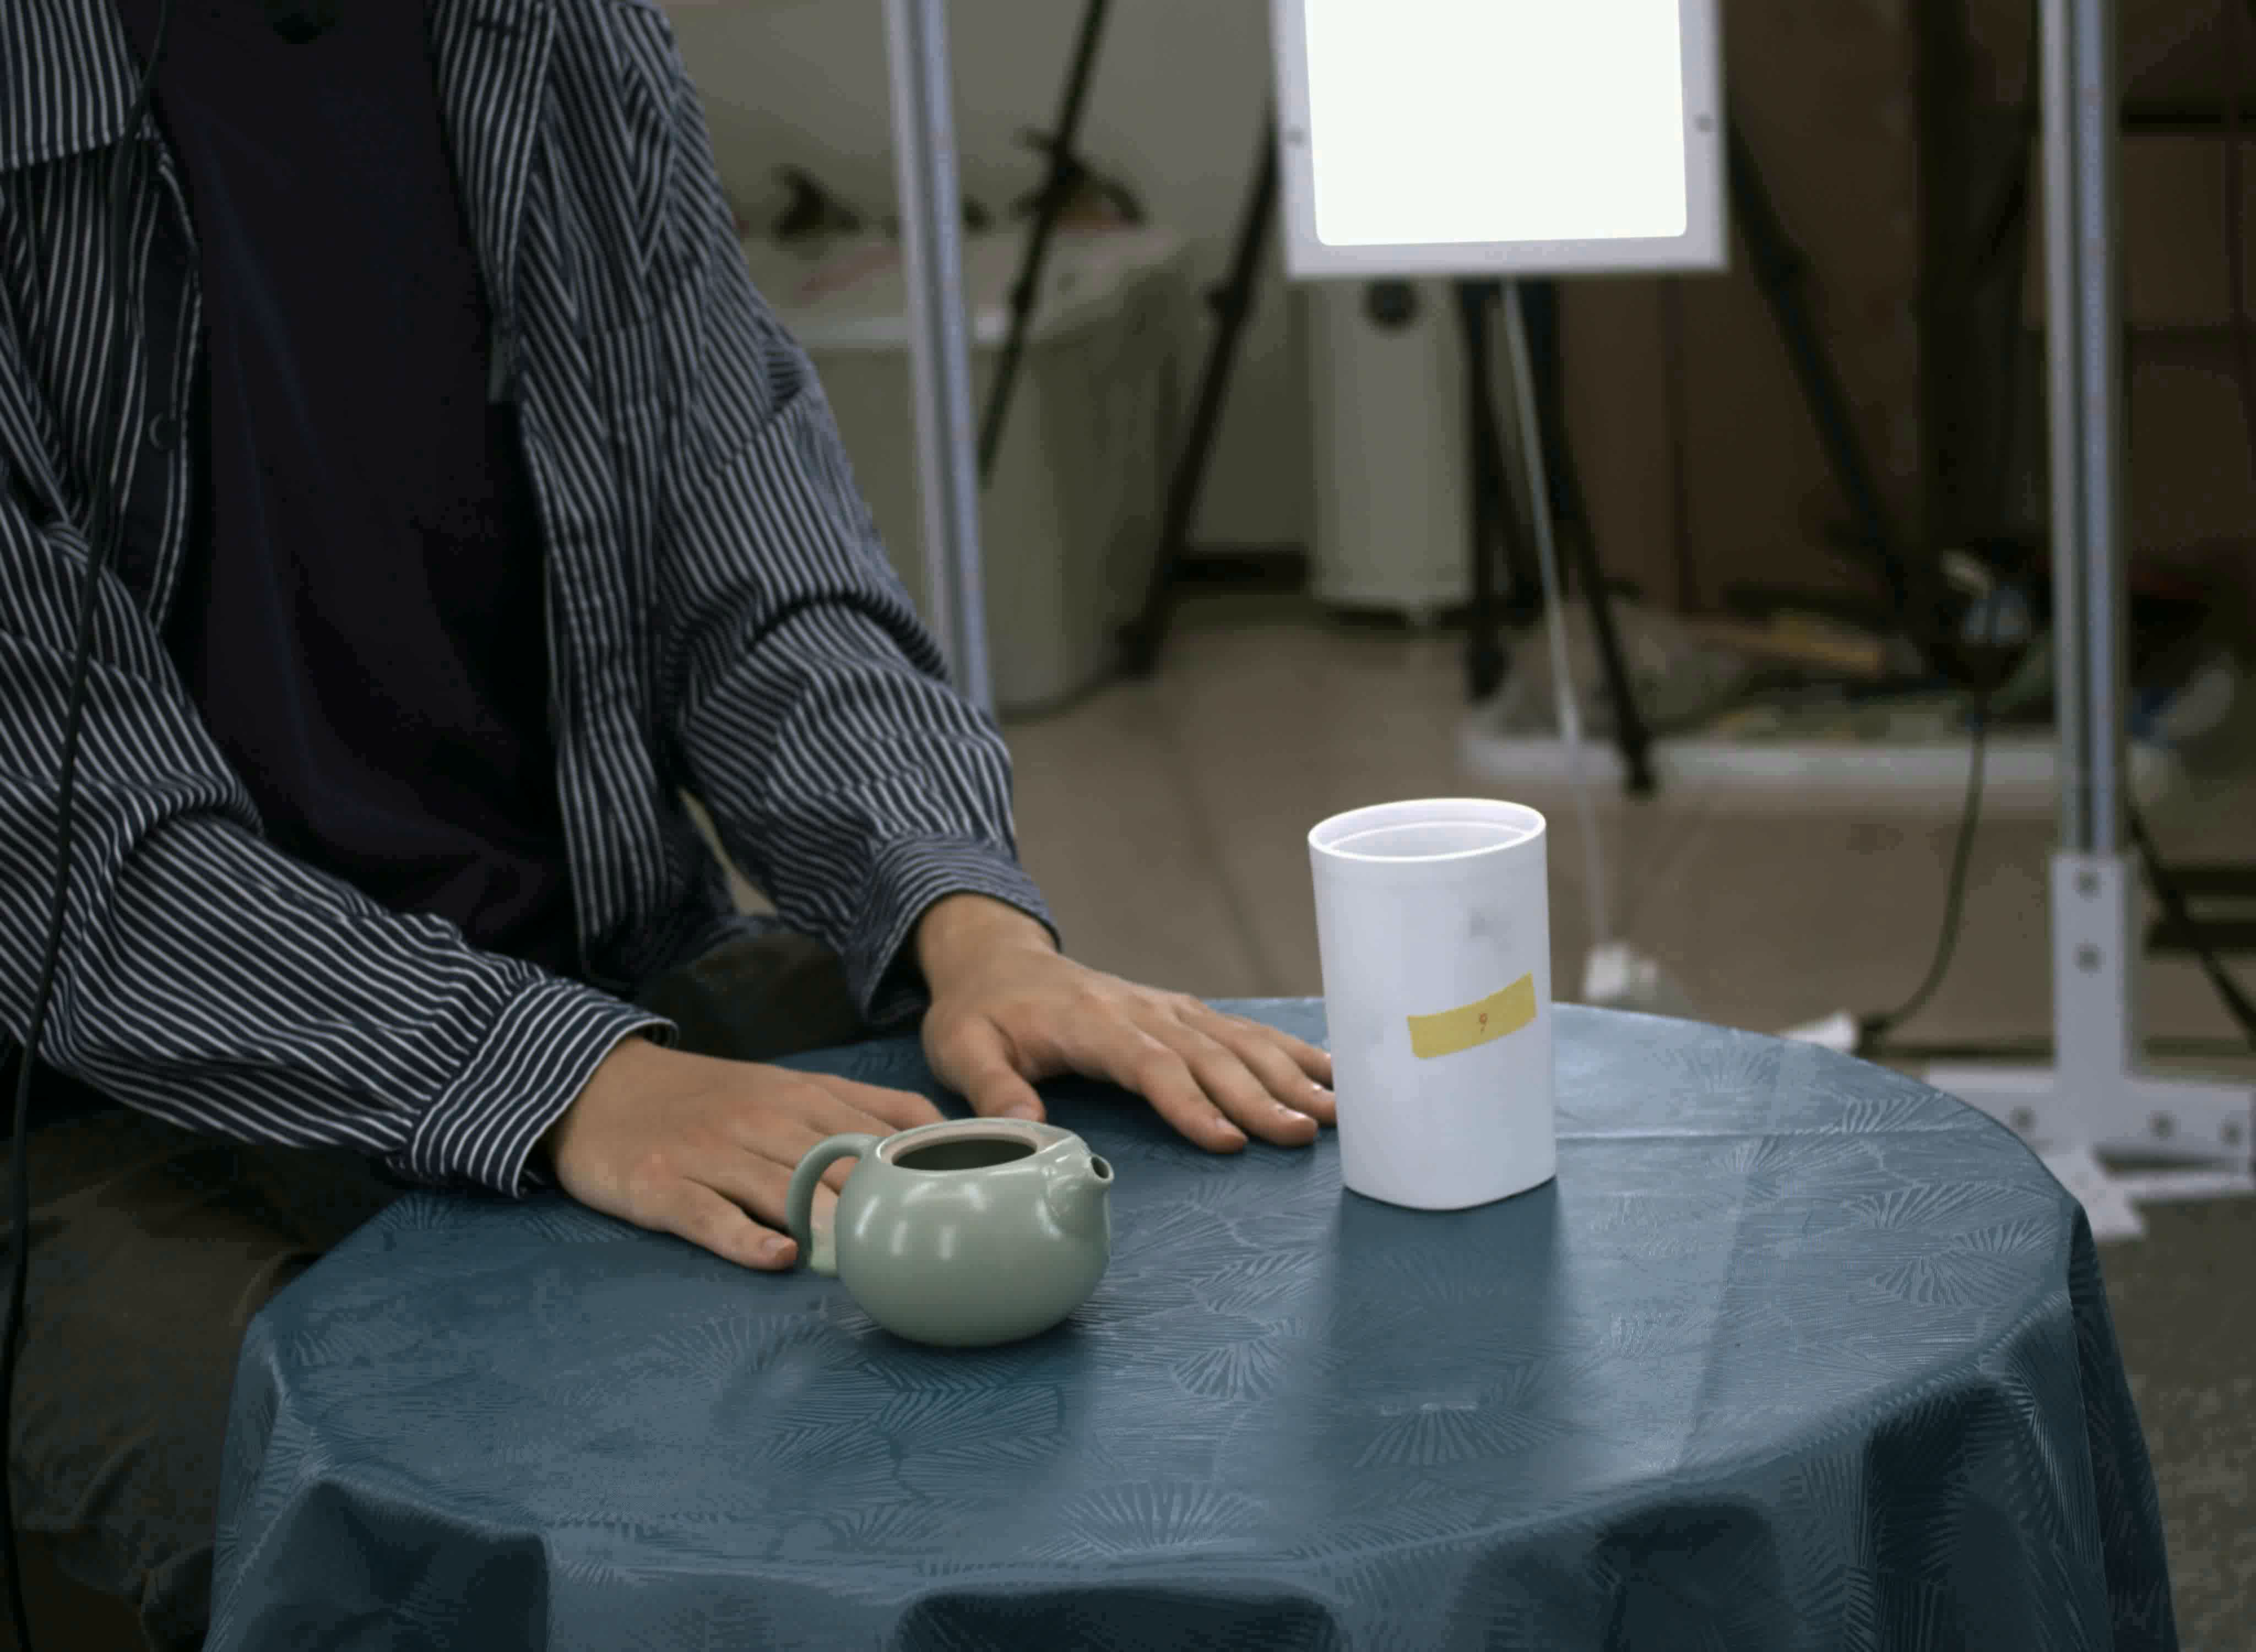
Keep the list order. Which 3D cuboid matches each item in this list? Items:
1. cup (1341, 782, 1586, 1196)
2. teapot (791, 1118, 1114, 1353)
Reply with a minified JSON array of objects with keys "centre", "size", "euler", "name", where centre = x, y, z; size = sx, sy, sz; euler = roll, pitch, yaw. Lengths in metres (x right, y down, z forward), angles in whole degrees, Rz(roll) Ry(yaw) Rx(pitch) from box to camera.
[{"centre":[0.117,0.055,1.866],"size":[0.081,0.126,0.081],"euler":[-5,14,0],"name":"cup"},{"centre":[-0.058,0.131,1.774],"size":[0.131,0.061,0.089],"euler":[5,19,38],"name":"teapot"}]
